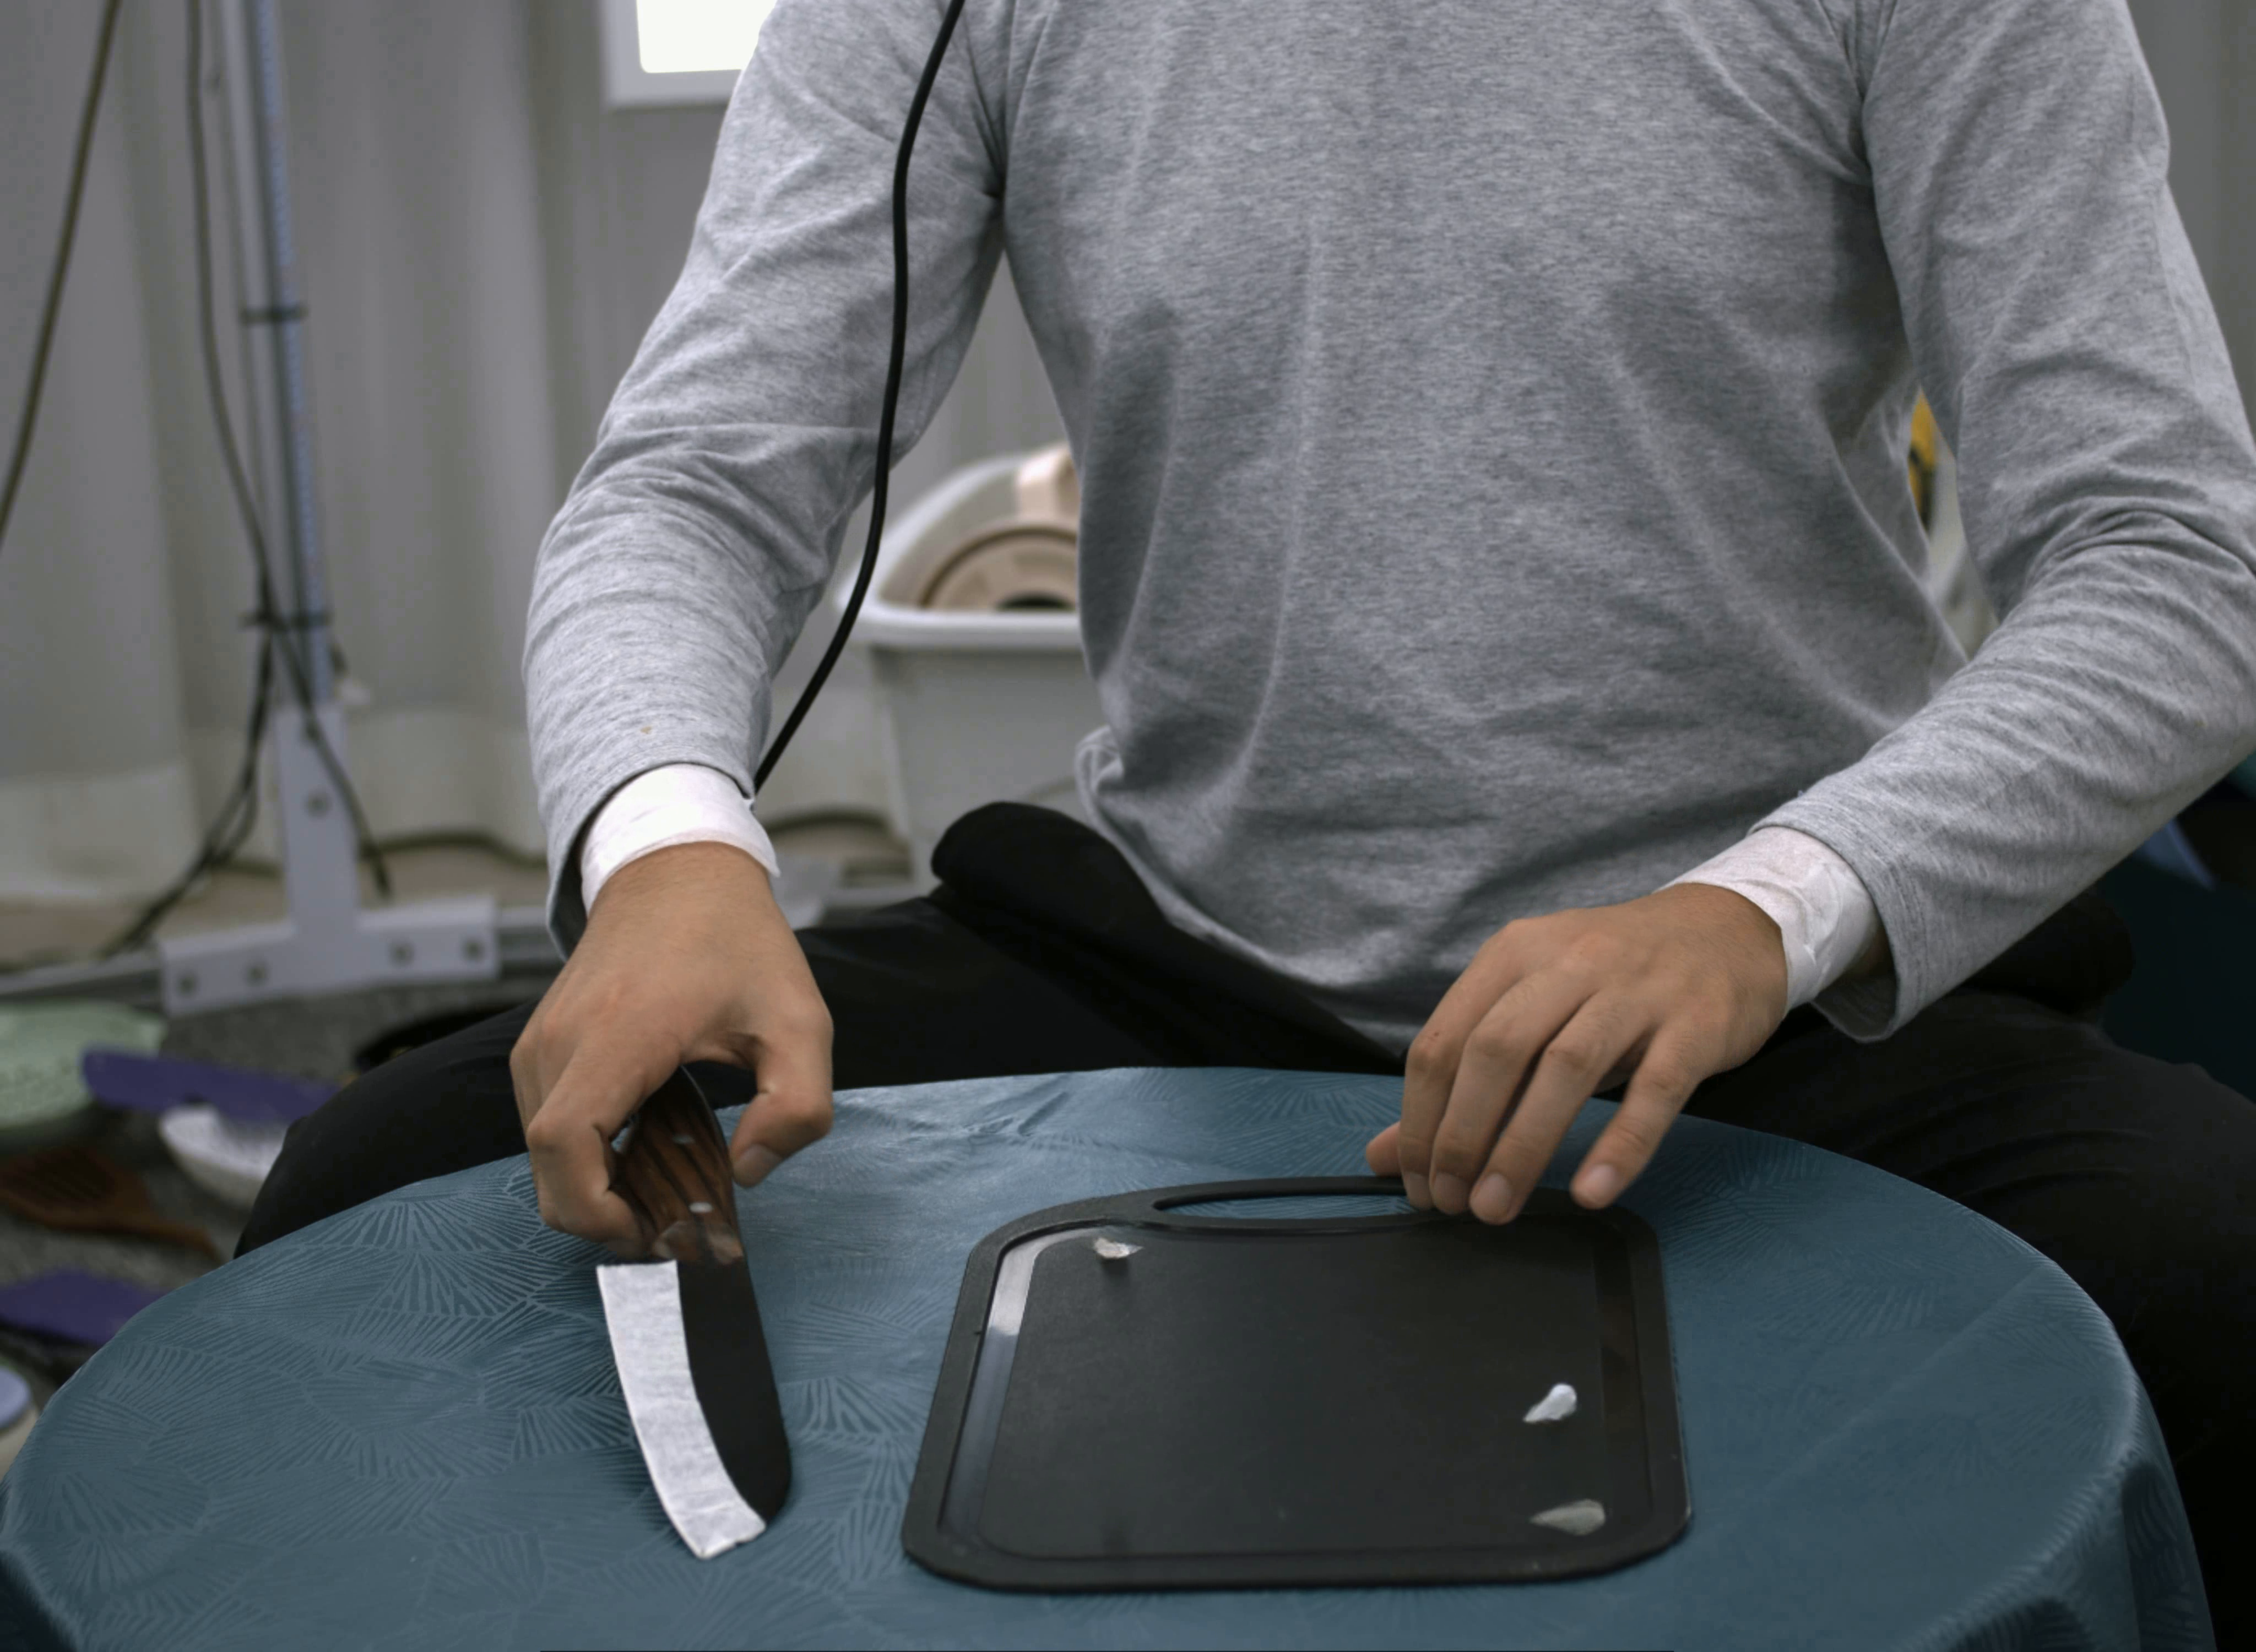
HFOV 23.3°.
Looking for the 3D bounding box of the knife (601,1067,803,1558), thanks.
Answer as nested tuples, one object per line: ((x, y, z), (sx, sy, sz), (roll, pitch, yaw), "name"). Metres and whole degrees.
((-0.126, 0.138, 1.573), (0.050, 0.020, 0.292), (-2, 23, -7), "knife")

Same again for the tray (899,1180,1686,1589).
((0.050, 0.152, 1.556), (0.210, 0.010, 0.327), (-1, 15, 5), "tray")
